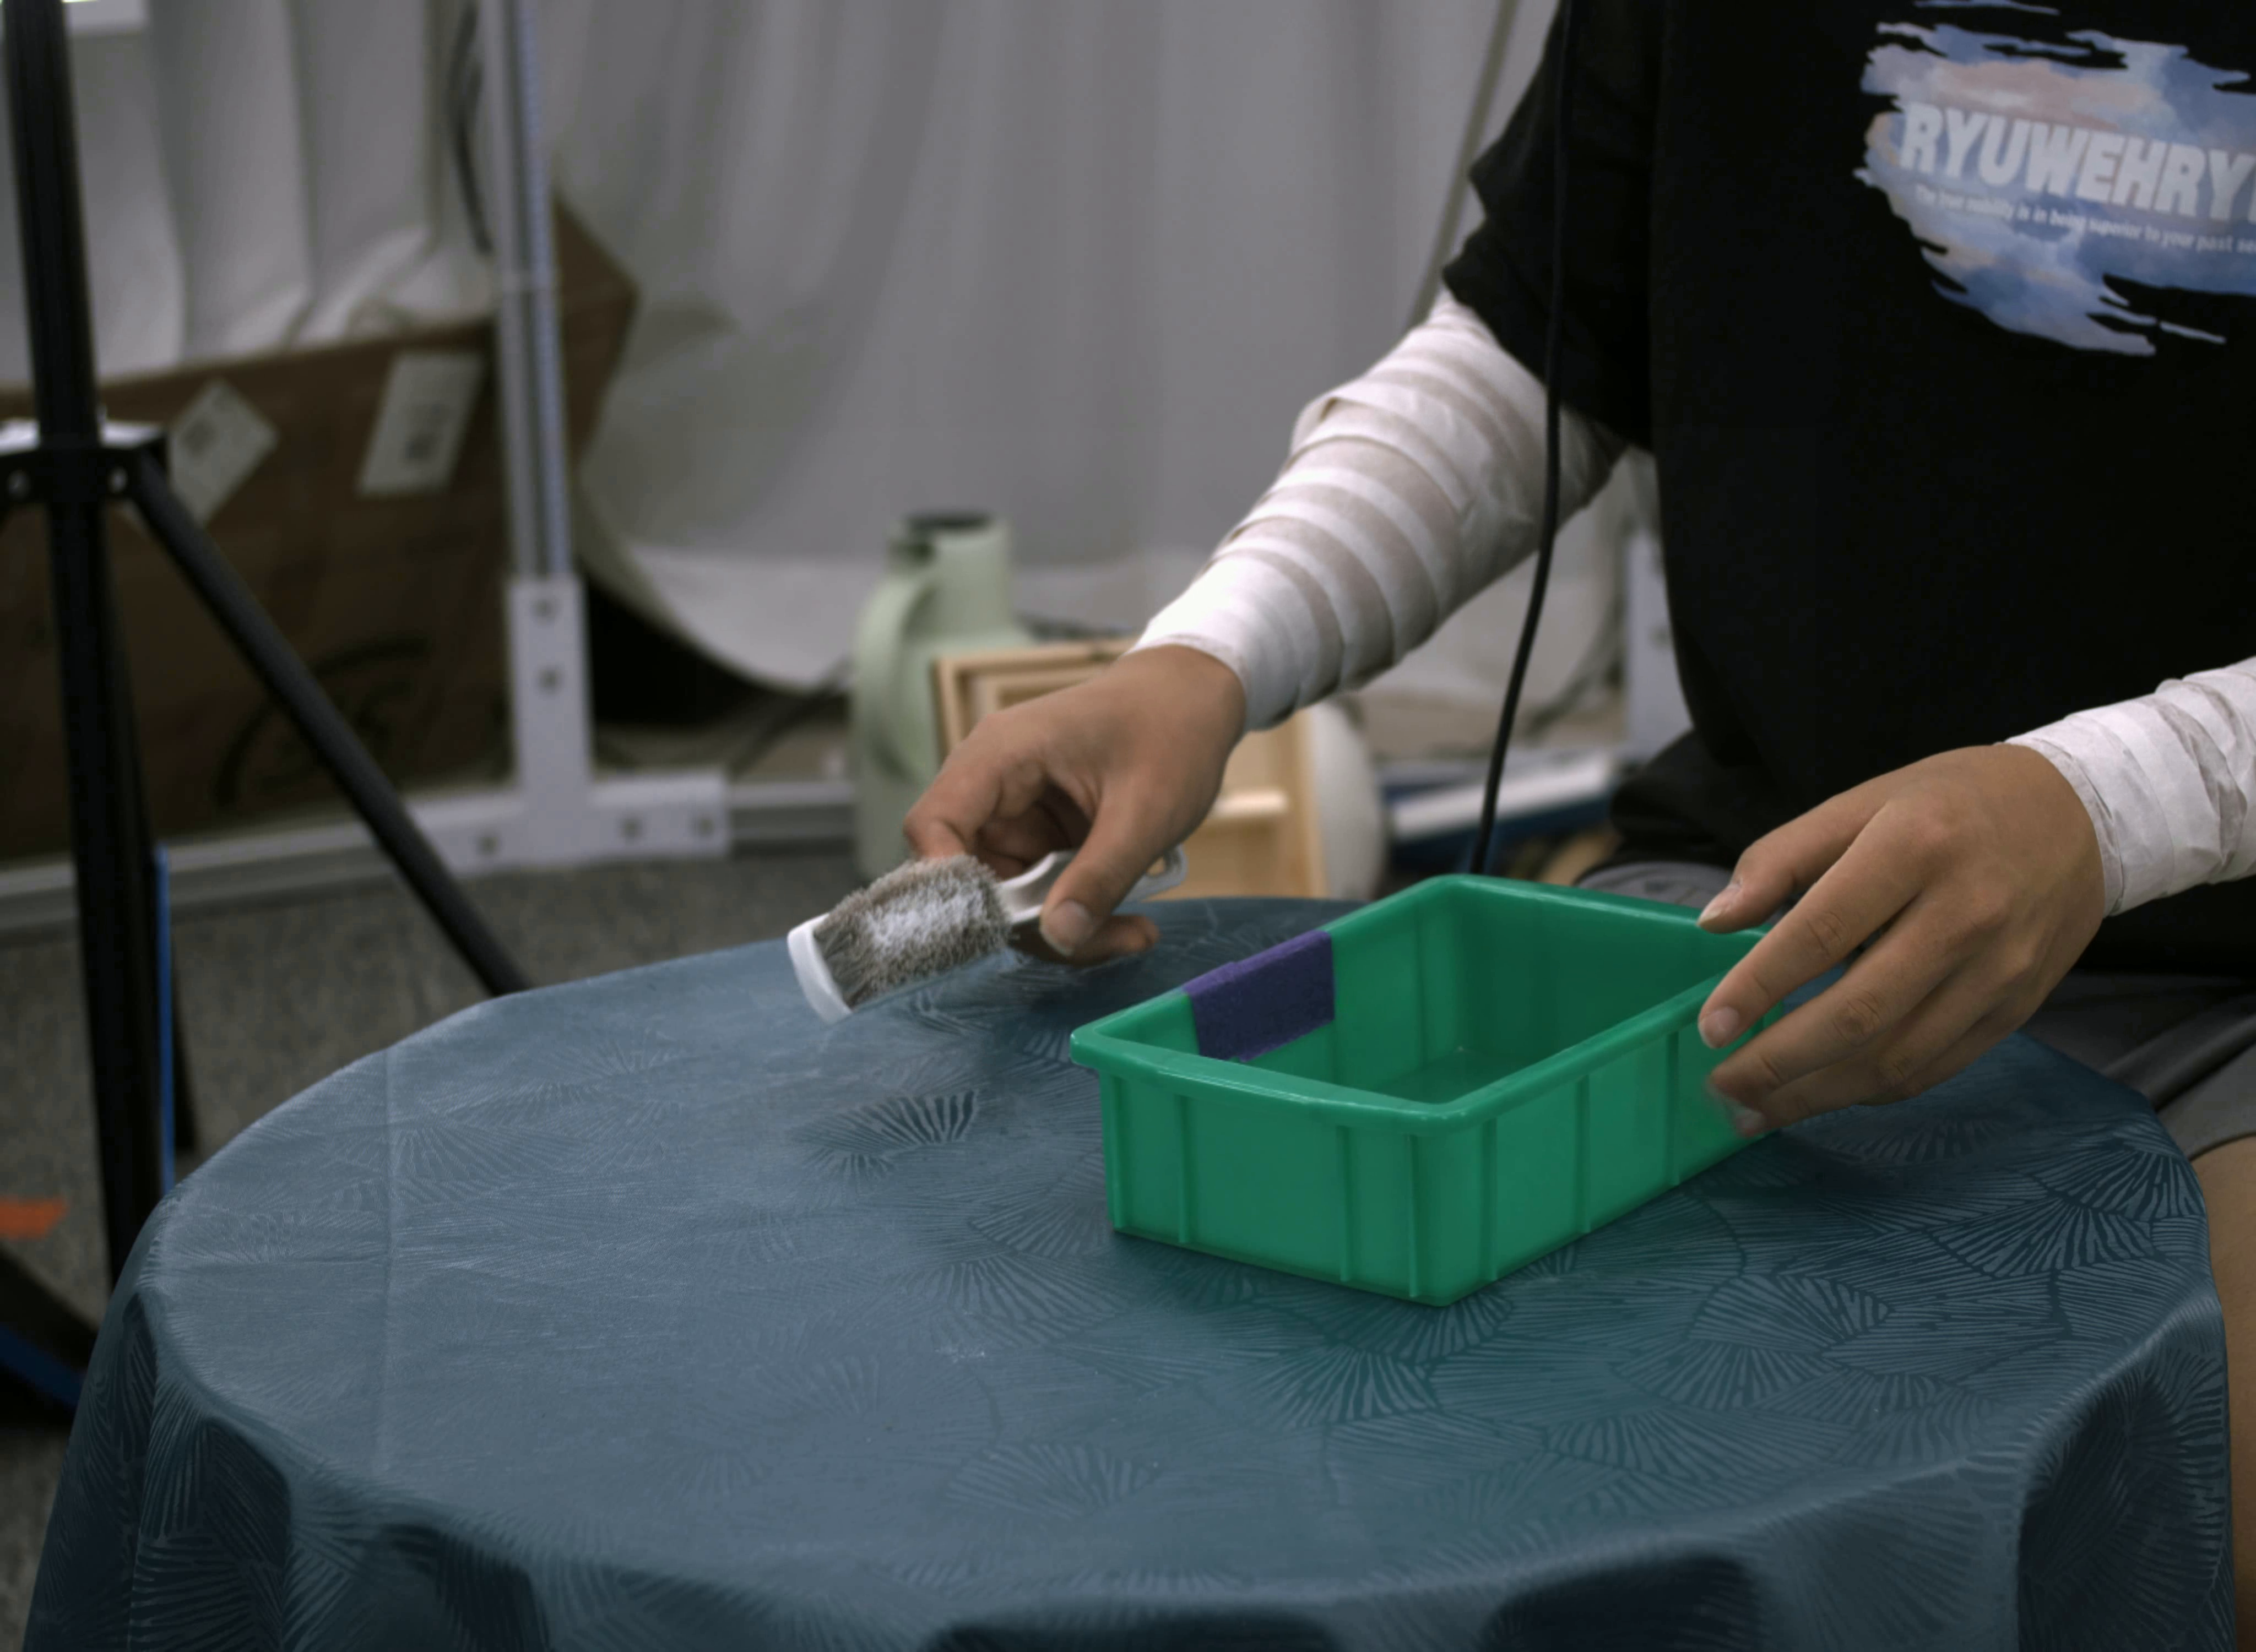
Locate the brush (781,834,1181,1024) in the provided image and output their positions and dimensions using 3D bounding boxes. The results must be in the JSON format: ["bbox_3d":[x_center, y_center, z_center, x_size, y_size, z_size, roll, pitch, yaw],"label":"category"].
[{"bbox_3d":[-0.030,0.024,1.712,0.051,0.034,0.238,-24,-5,32],"label":"brush"}]

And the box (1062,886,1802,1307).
[{"bbox_3d":[0.092,0.077,1.544,0.141,0.065,0.206,7,18,37],"label":"box"}]
